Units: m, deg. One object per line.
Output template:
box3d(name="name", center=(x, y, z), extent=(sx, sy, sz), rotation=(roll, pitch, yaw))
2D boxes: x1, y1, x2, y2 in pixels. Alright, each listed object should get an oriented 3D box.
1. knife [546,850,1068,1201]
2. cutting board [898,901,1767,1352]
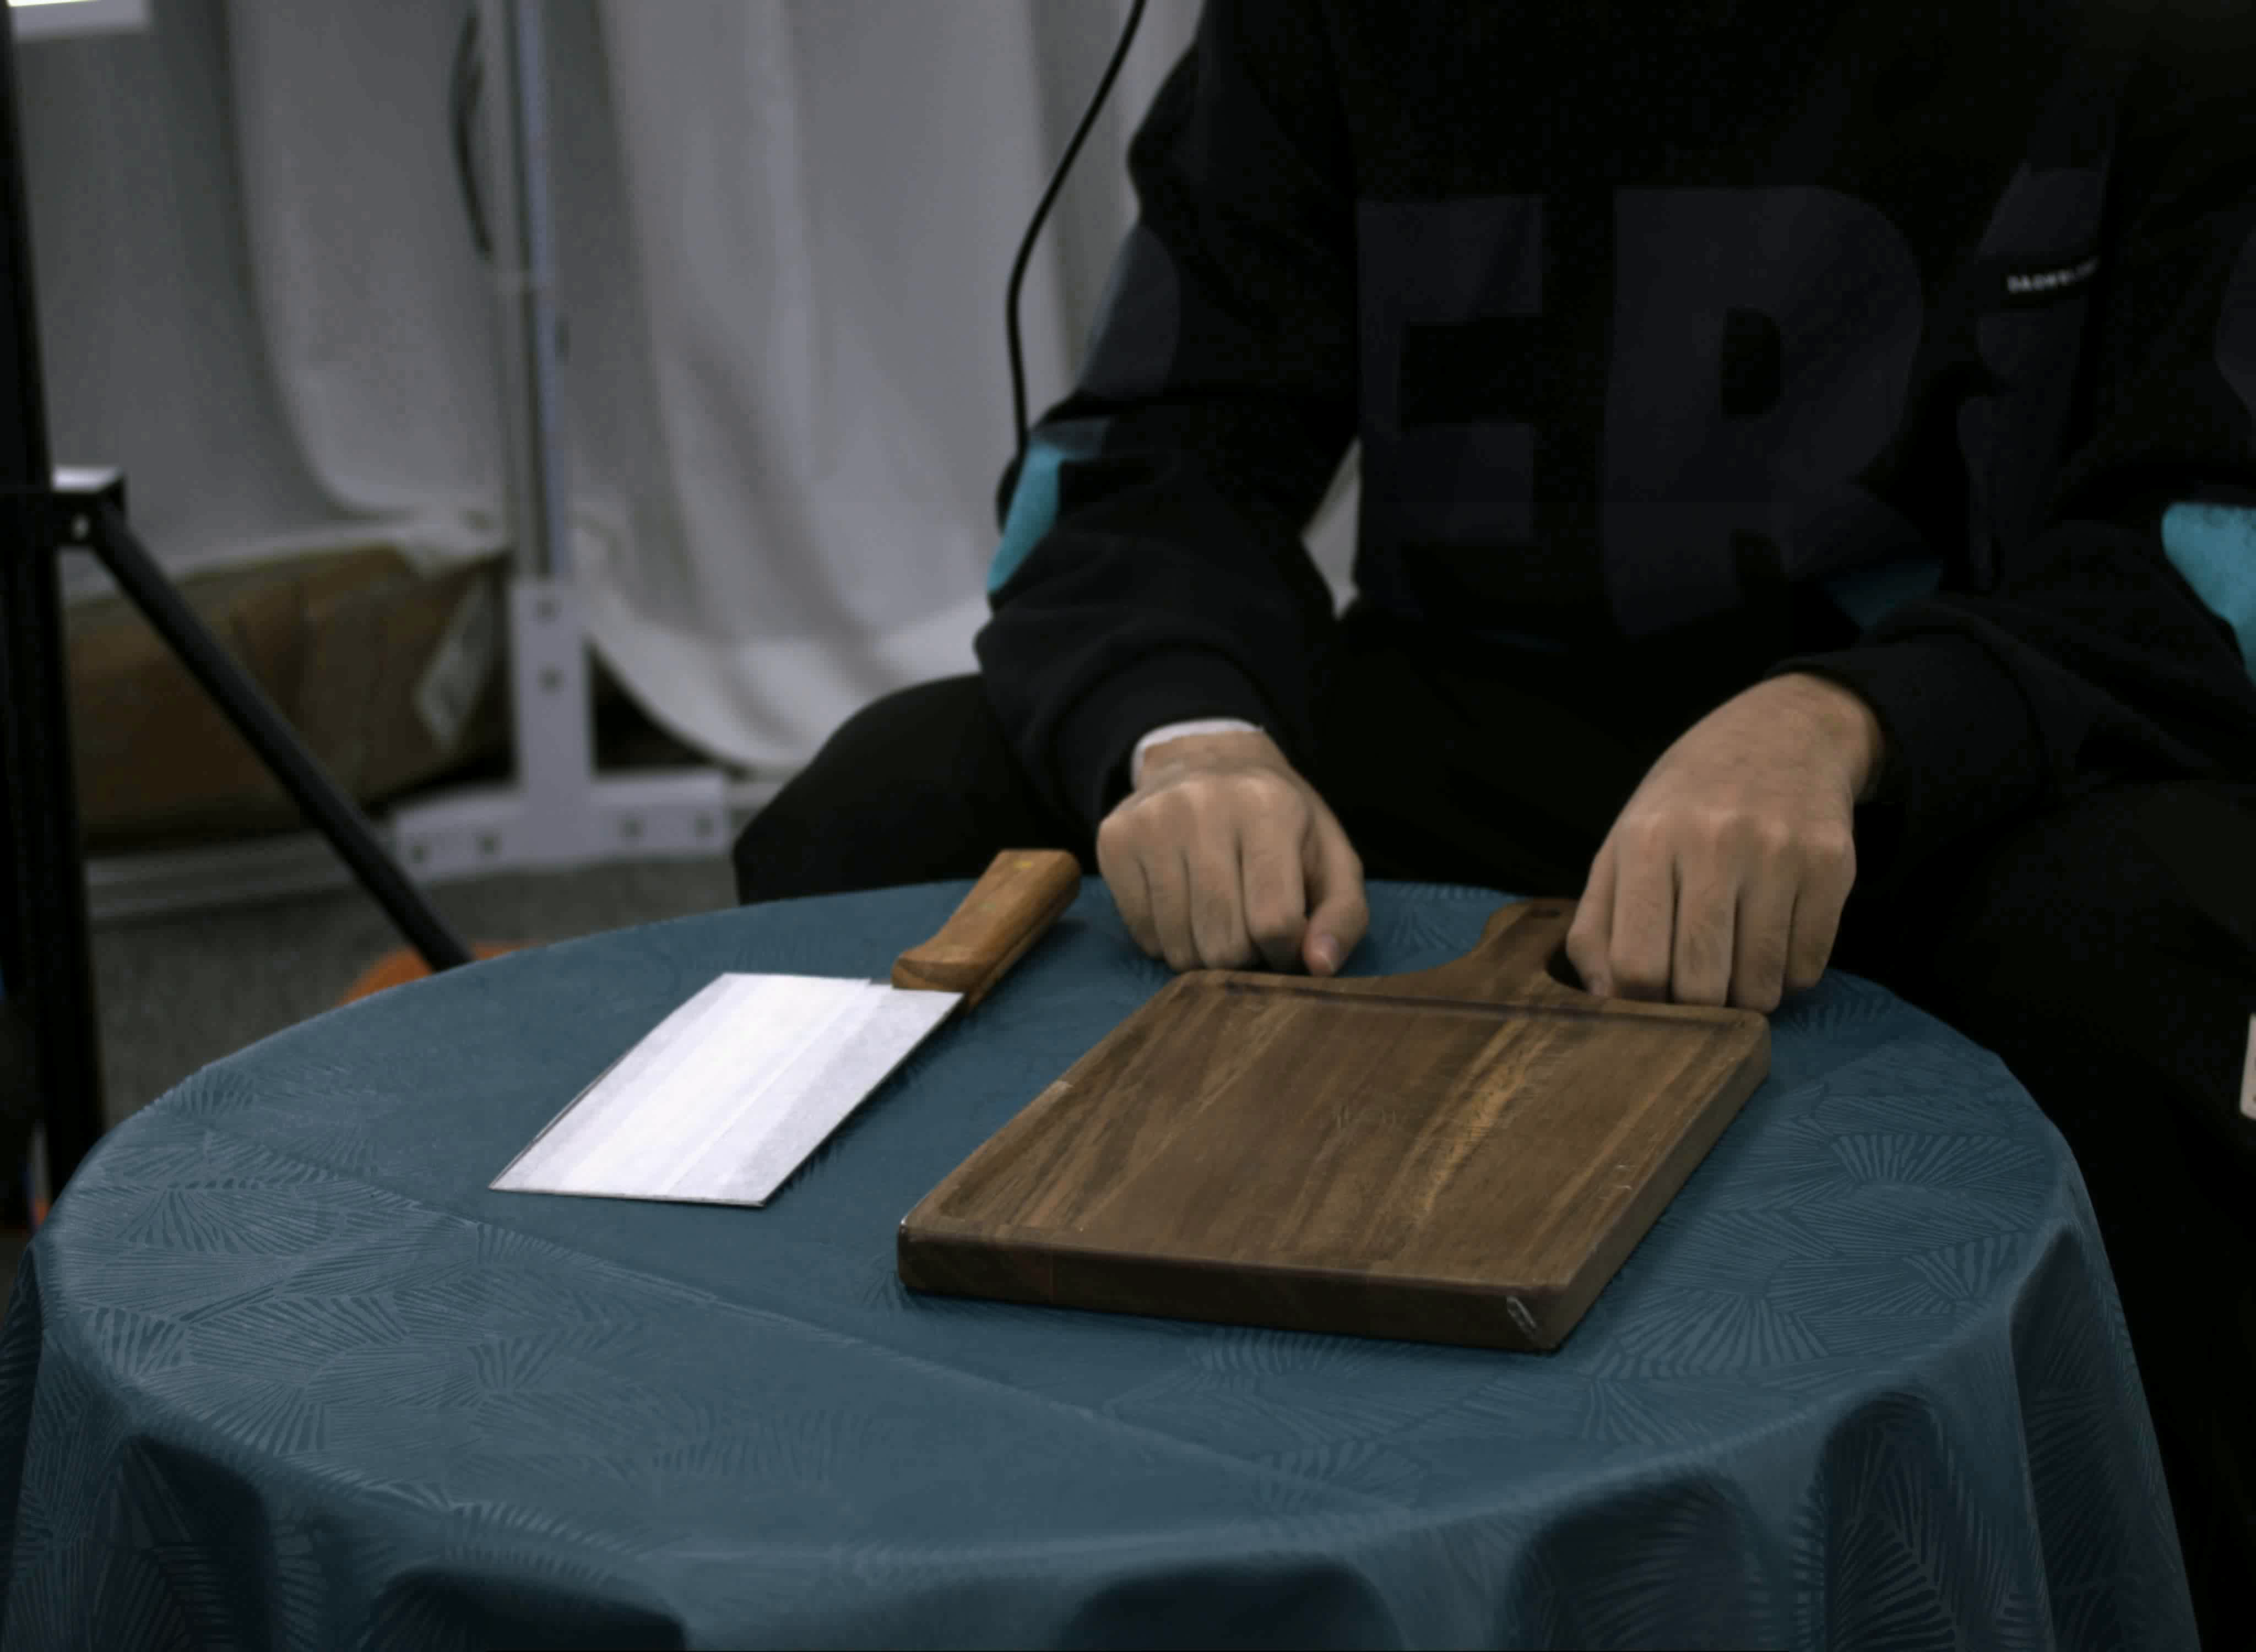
box3d(name="knife", center=(-0.101, 0.062, 1.709), extent=(0.094, 0.021, 0.303), rotation=(1, 18, 19))
box3d(name="cutting board", center=(0.083, 0.081, 1.601), extent=(0.203, 0.023, 0.348), rotation=(3, 17, 20))
